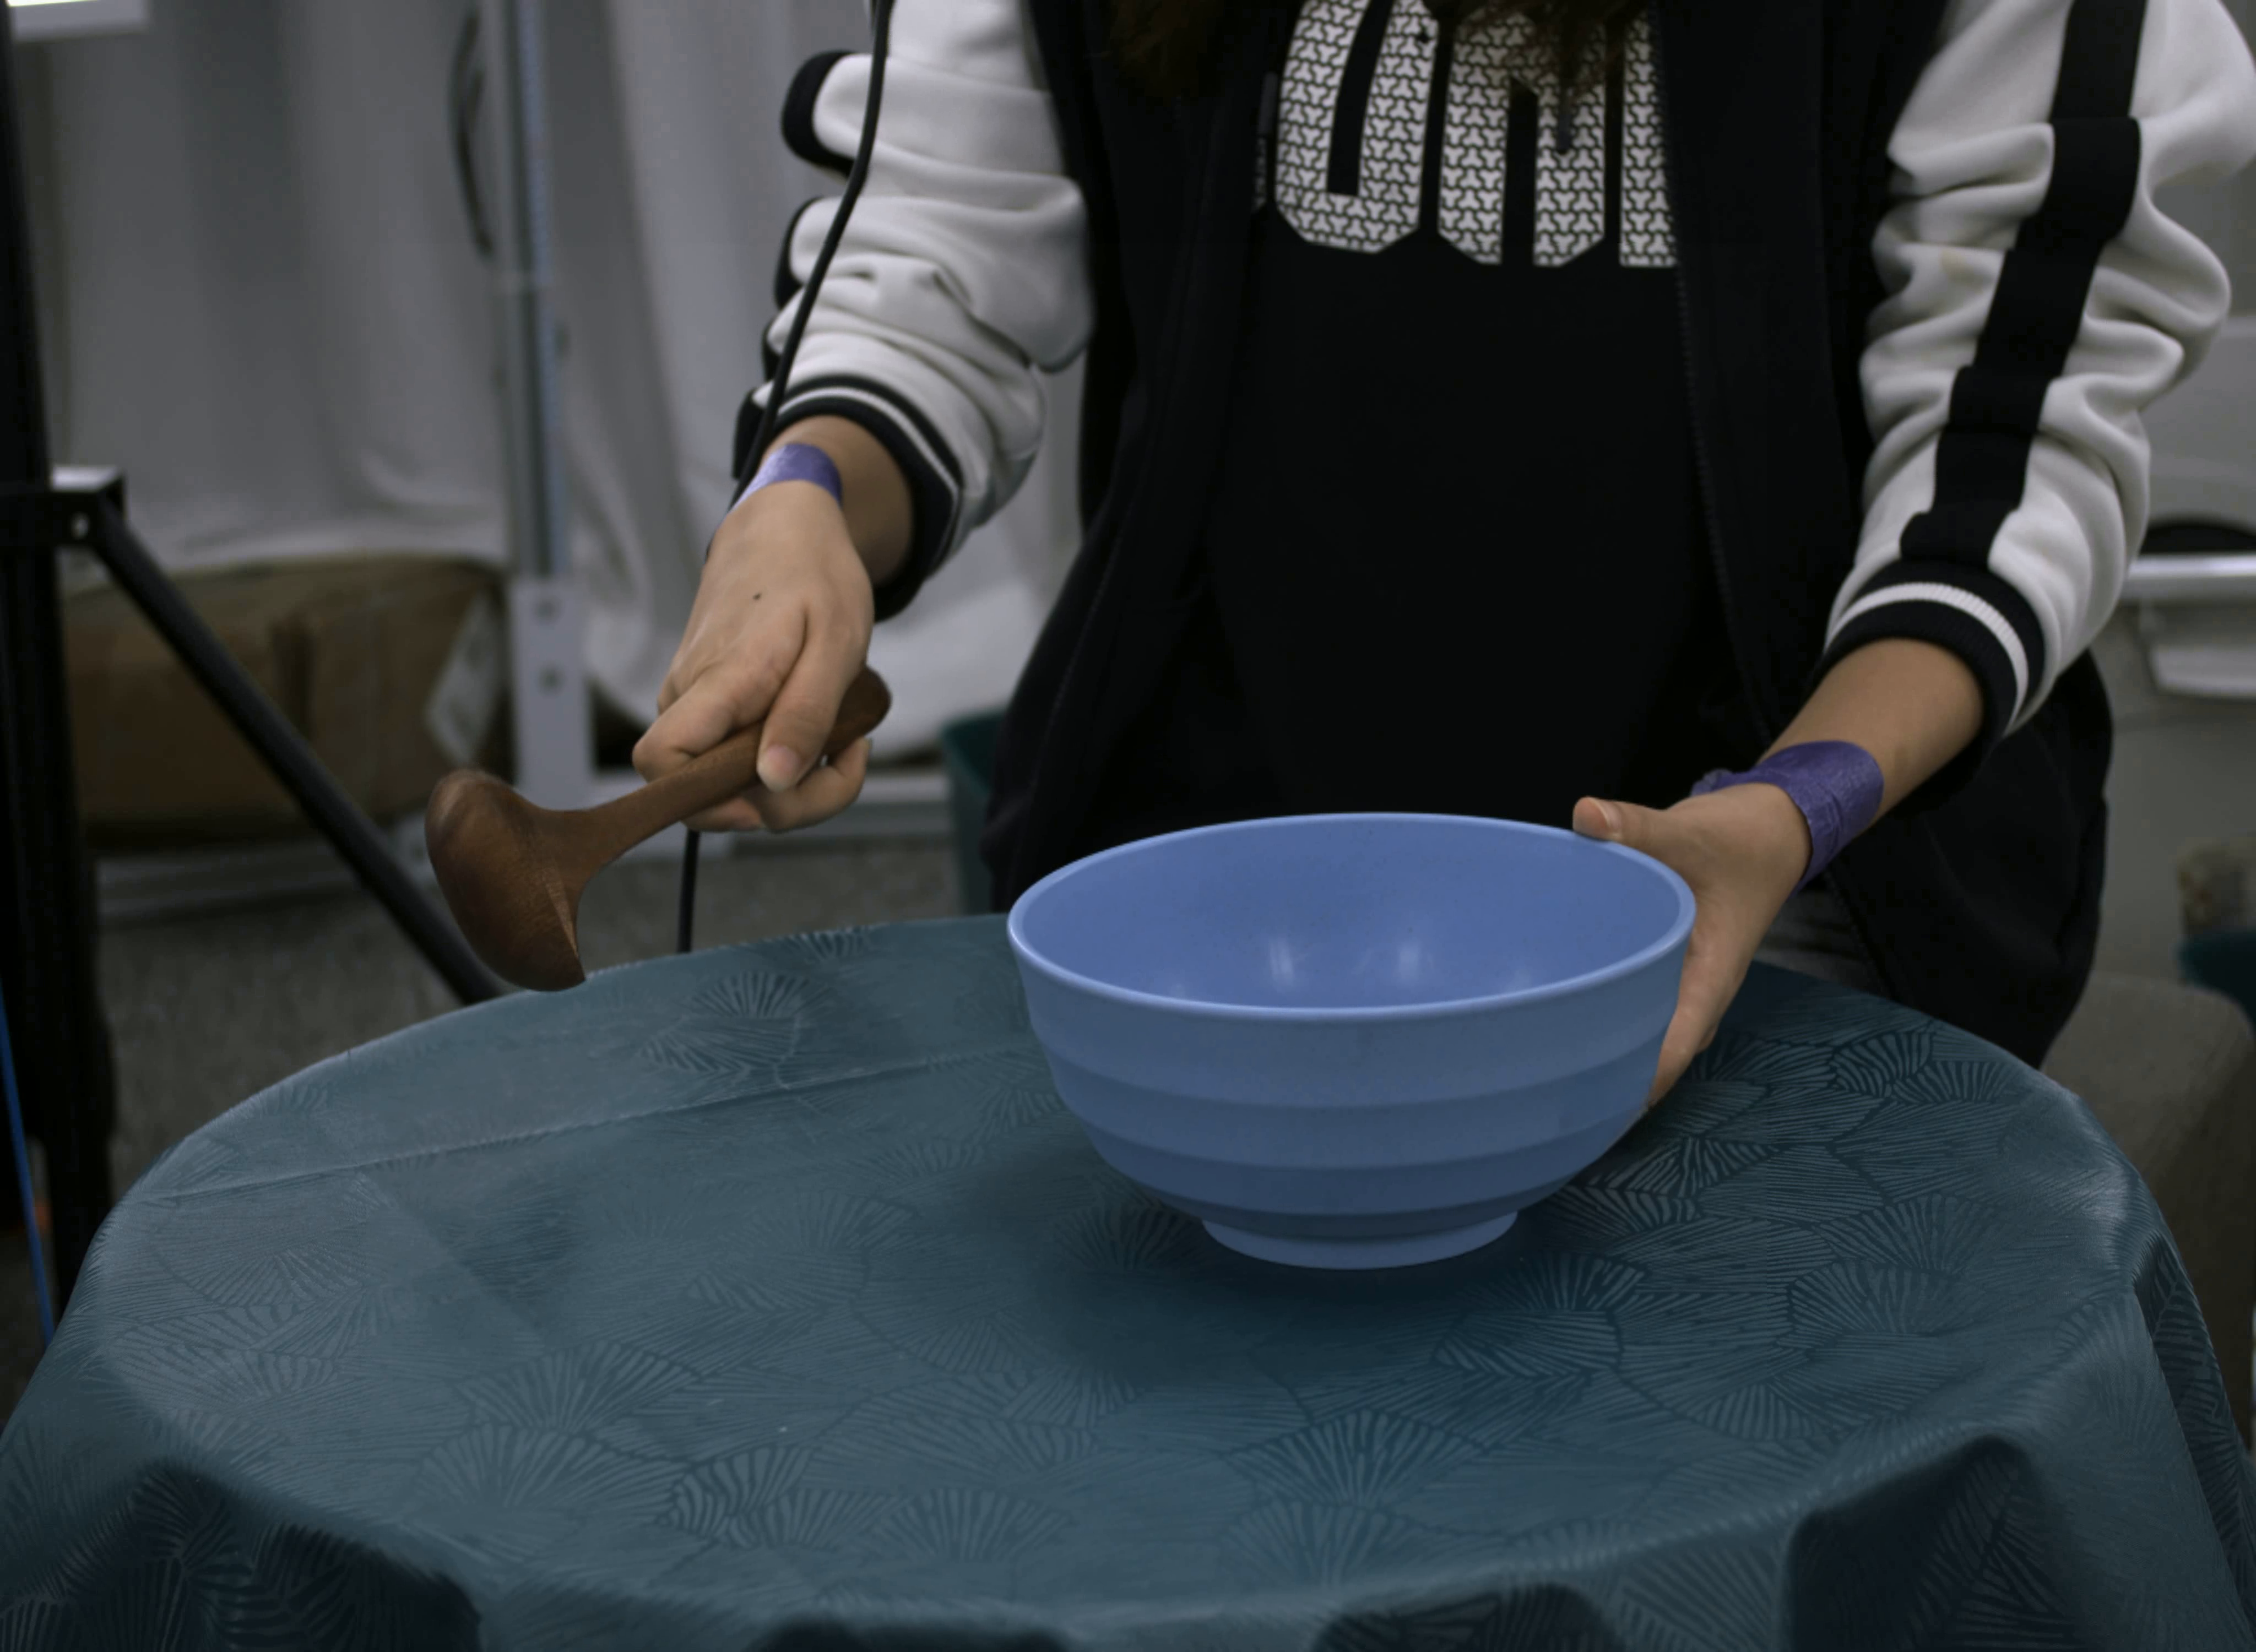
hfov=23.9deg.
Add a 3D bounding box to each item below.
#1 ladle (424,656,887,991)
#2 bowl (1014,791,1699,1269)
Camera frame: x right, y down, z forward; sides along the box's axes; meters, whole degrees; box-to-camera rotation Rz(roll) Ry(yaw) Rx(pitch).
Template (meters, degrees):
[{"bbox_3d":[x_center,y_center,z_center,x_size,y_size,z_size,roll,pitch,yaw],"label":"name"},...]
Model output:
[{"bbox_3d":[-0.130,-0.015,1.638,0.066,0.076,0.255,-18,6,36],"label":"ladle"},{"bbox_3d":[0.071,0.066,1.522,0.196,0.095,0.197,-8,17,1],"label":"bowl"}]
